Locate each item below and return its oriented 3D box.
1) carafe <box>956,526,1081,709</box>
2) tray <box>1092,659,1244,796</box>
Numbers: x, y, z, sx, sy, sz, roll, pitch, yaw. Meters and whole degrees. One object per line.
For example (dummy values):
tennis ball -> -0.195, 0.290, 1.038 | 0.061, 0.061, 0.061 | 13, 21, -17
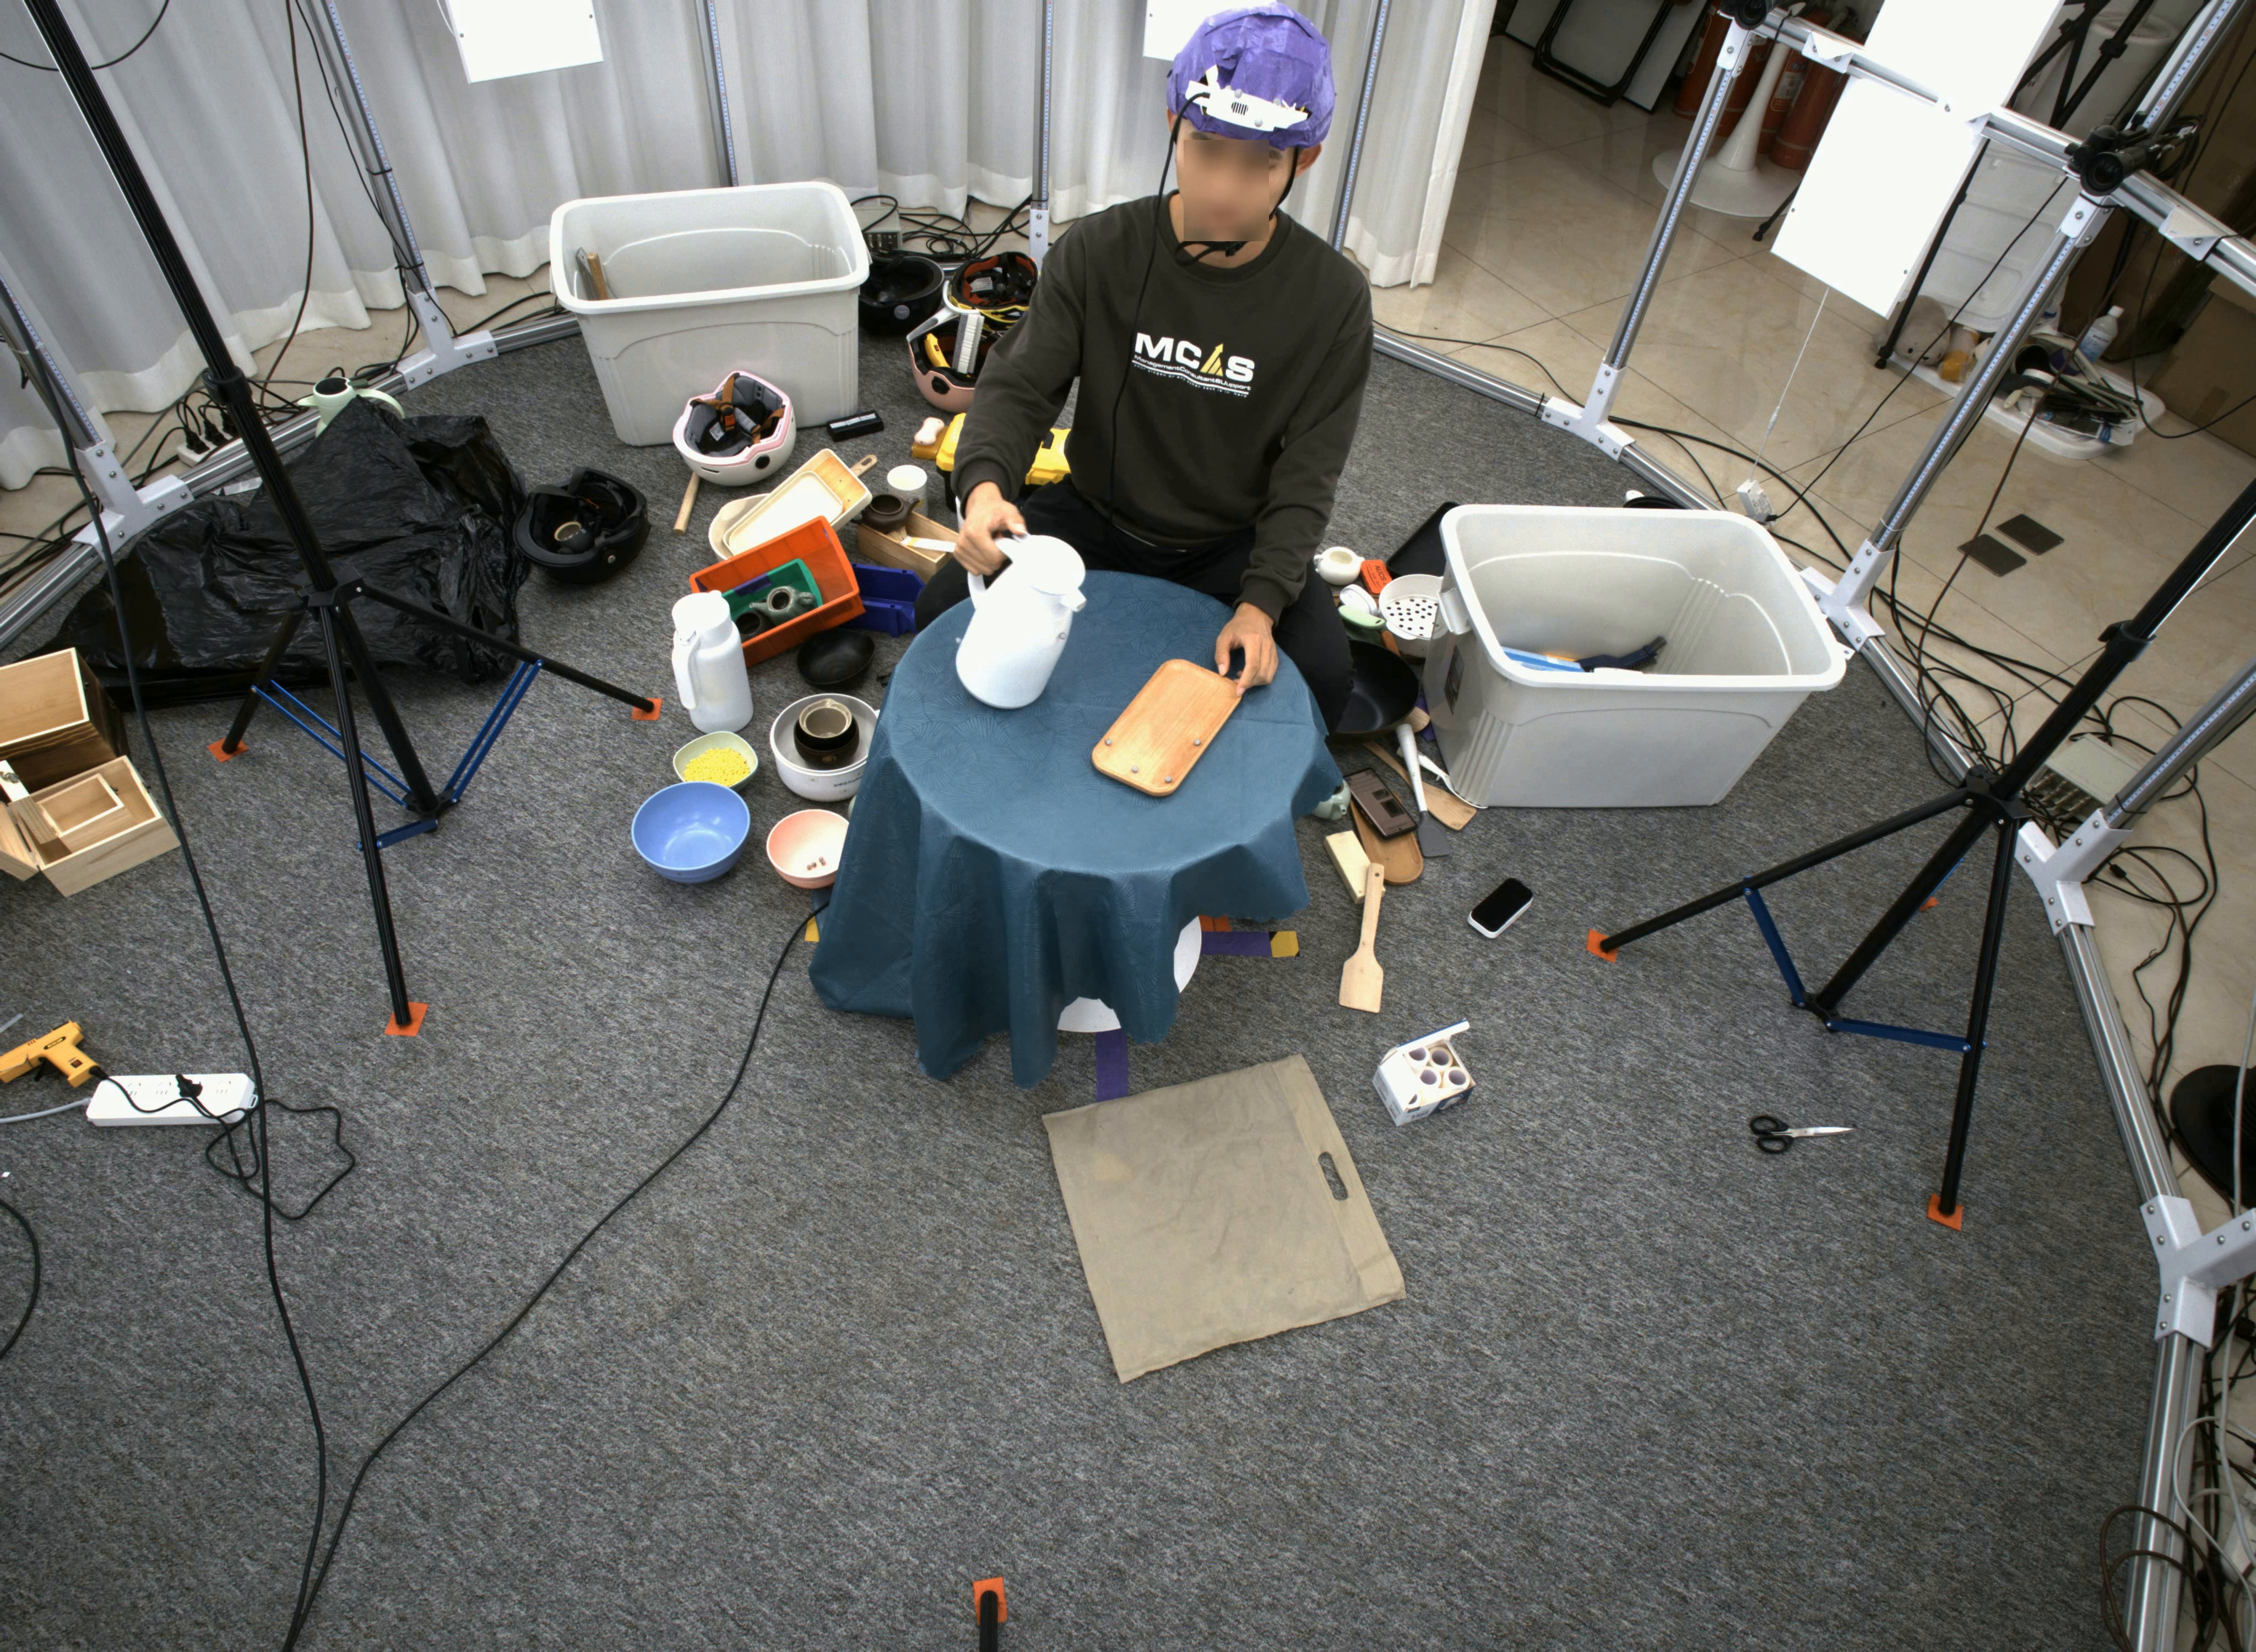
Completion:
carafe -> -0.154, -0.291, 1.720 | 0.169, 0.244, 0.134 | 43, 56, 8
tray -> 0.058, -0.140, 1.780 | 0.131, 0.022, 0.254 | 27, 51, 15
